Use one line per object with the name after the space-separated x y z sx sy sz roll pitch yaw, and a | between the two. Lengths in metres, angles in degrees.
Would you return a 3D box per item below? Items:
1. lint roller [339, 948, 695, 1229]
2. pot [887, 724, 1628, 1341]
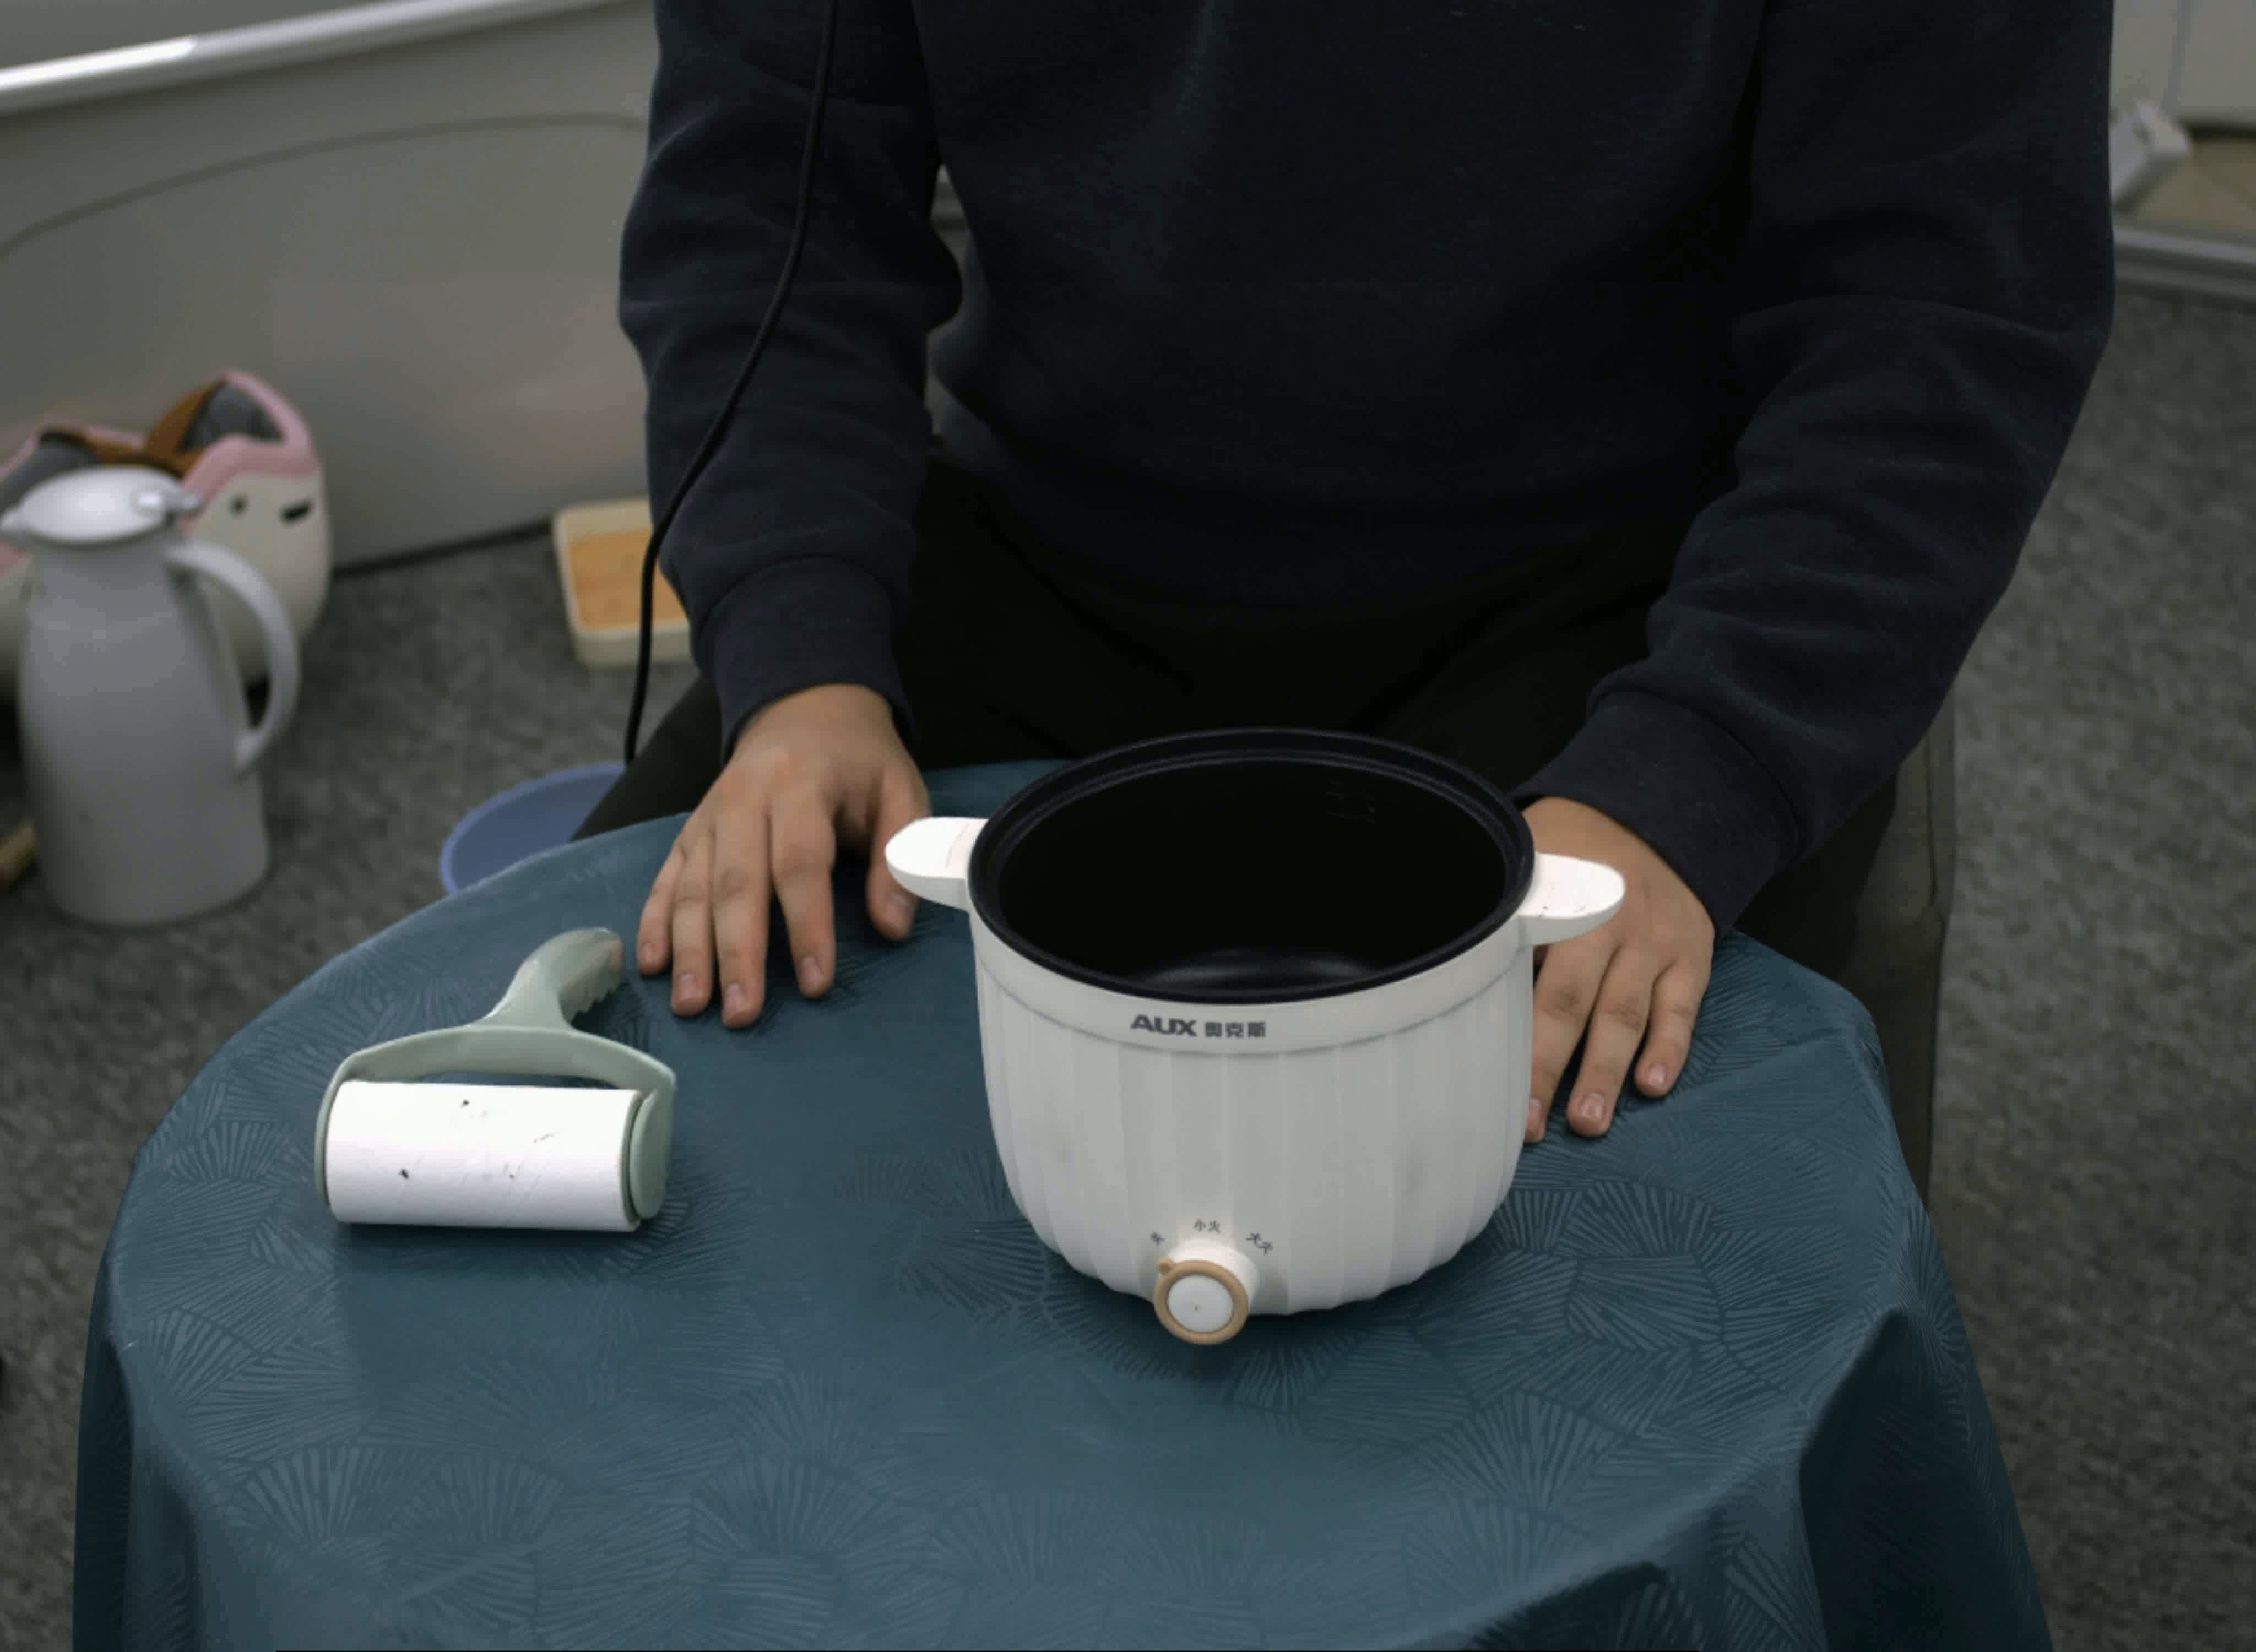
-0.194 0.078 1.920 0.116 0.048 0.200 -1 25 8 | lint roller
0.043 0.069 1.813 0.239 0.141 0.193 2 24 12 | pot
